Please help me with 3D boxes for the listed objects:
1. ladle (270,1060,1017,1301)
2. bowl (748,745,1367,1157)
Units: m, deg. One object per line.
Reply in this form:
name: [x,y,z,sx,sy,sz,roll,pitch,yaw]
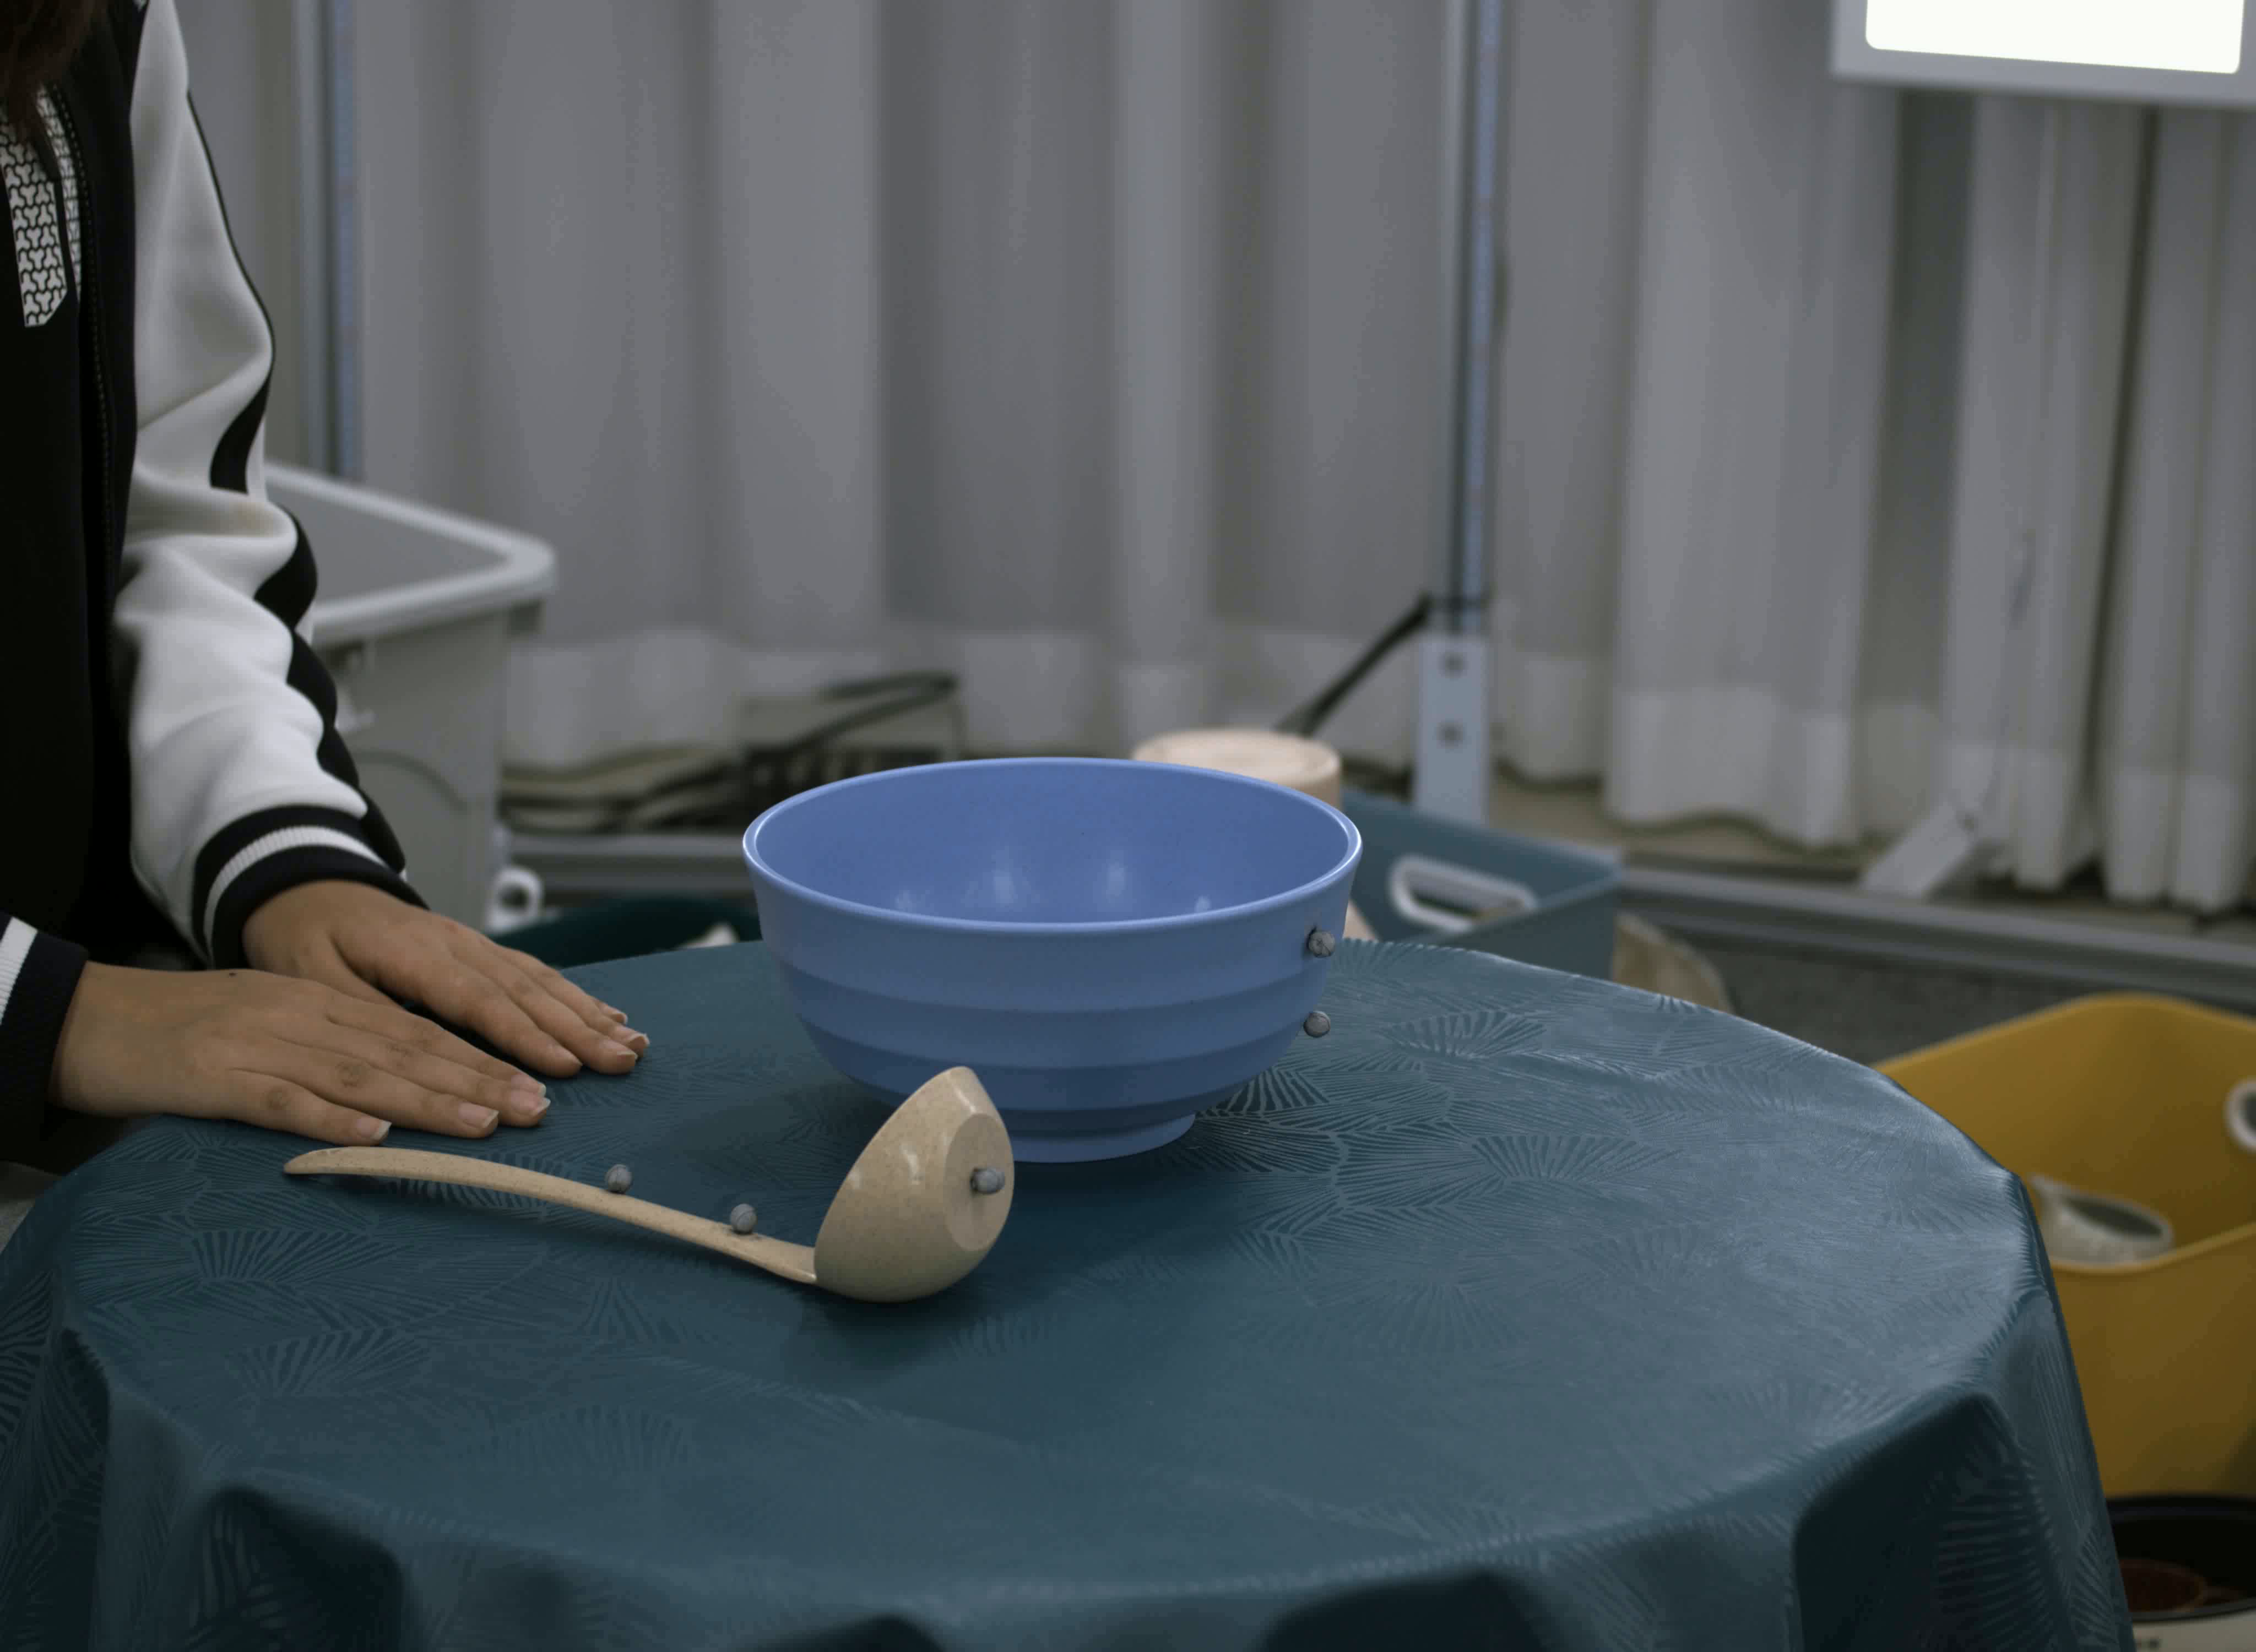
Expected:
ladle: [-0.152,0.089,1.563,0.251,0.073,0.072,8,17,26]
bowl: [-0.025,0.046,1.675,0.196,0.096,0.195,4,16,-1]
